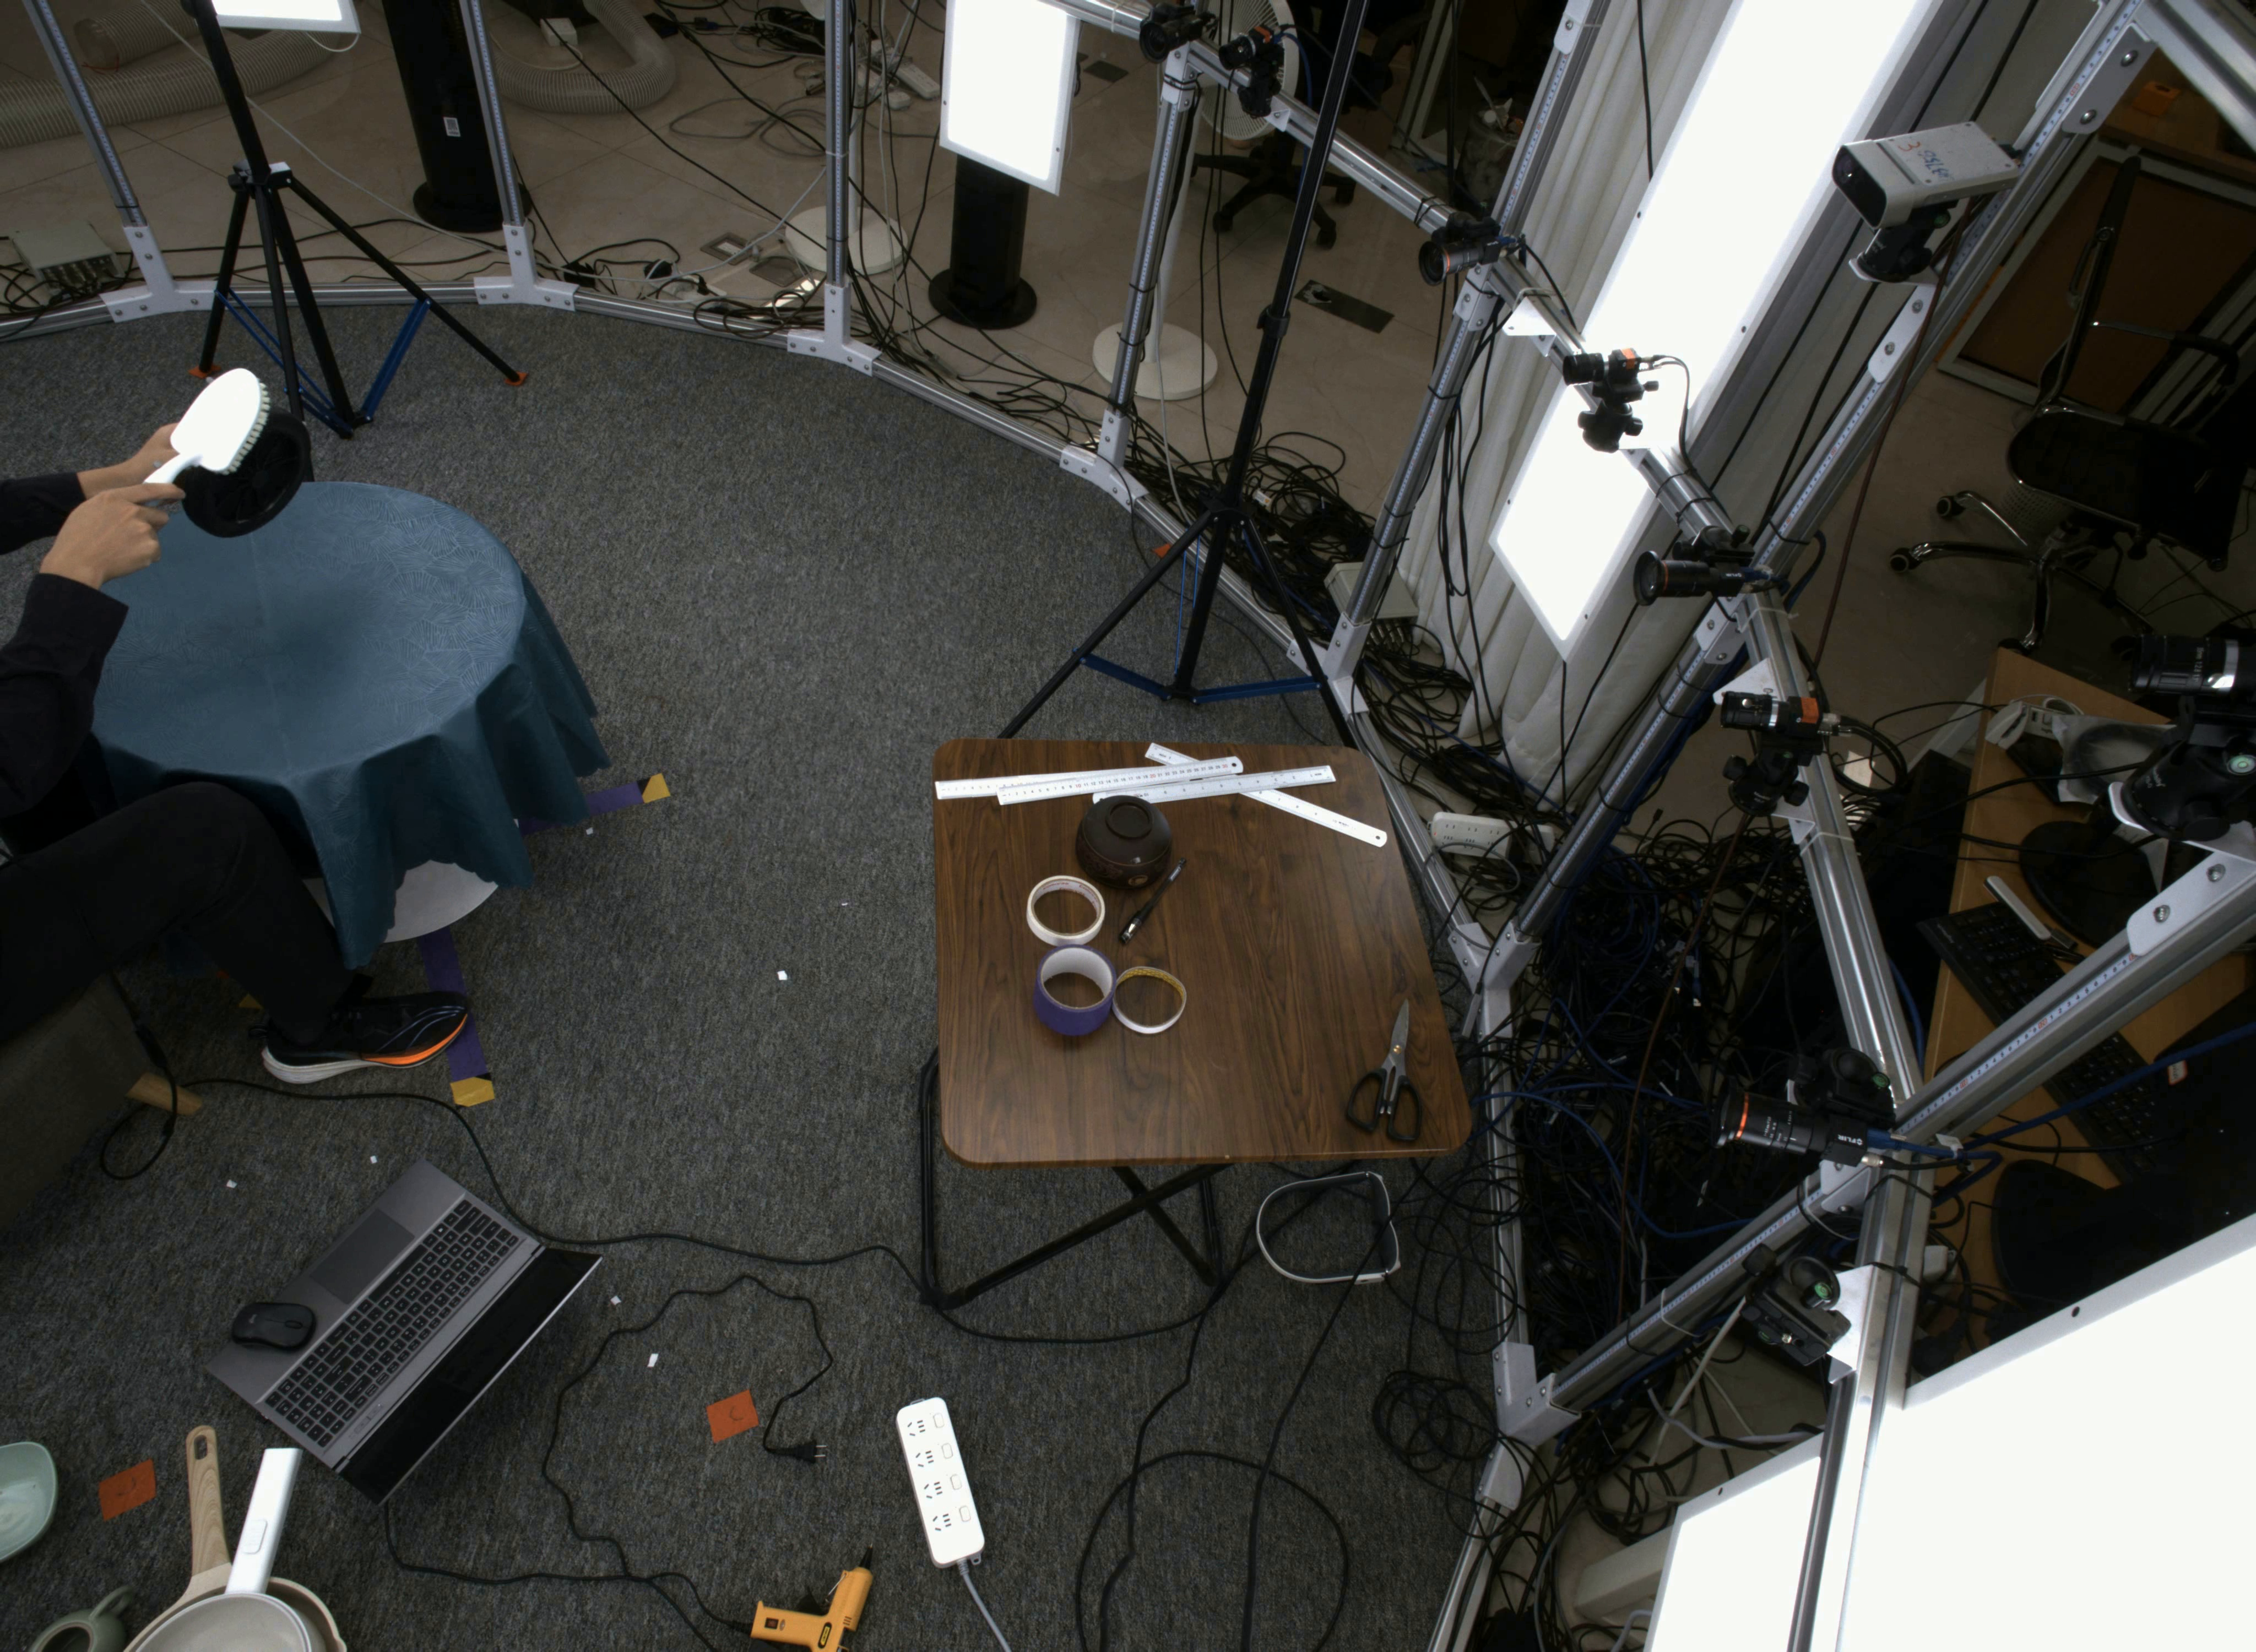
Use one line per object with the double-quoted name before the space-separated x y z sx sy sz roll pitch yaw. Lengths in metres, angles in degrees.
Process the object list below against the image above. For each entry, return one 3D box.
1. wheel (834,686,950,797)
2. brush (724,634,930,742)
"wheel" -0.372 -0.141 2.009 0.195 0.189 0.076 10 29 -46
"brush" -0.429 -0.182 1.860 0.326 0.087 0.080 -30 26 -24
